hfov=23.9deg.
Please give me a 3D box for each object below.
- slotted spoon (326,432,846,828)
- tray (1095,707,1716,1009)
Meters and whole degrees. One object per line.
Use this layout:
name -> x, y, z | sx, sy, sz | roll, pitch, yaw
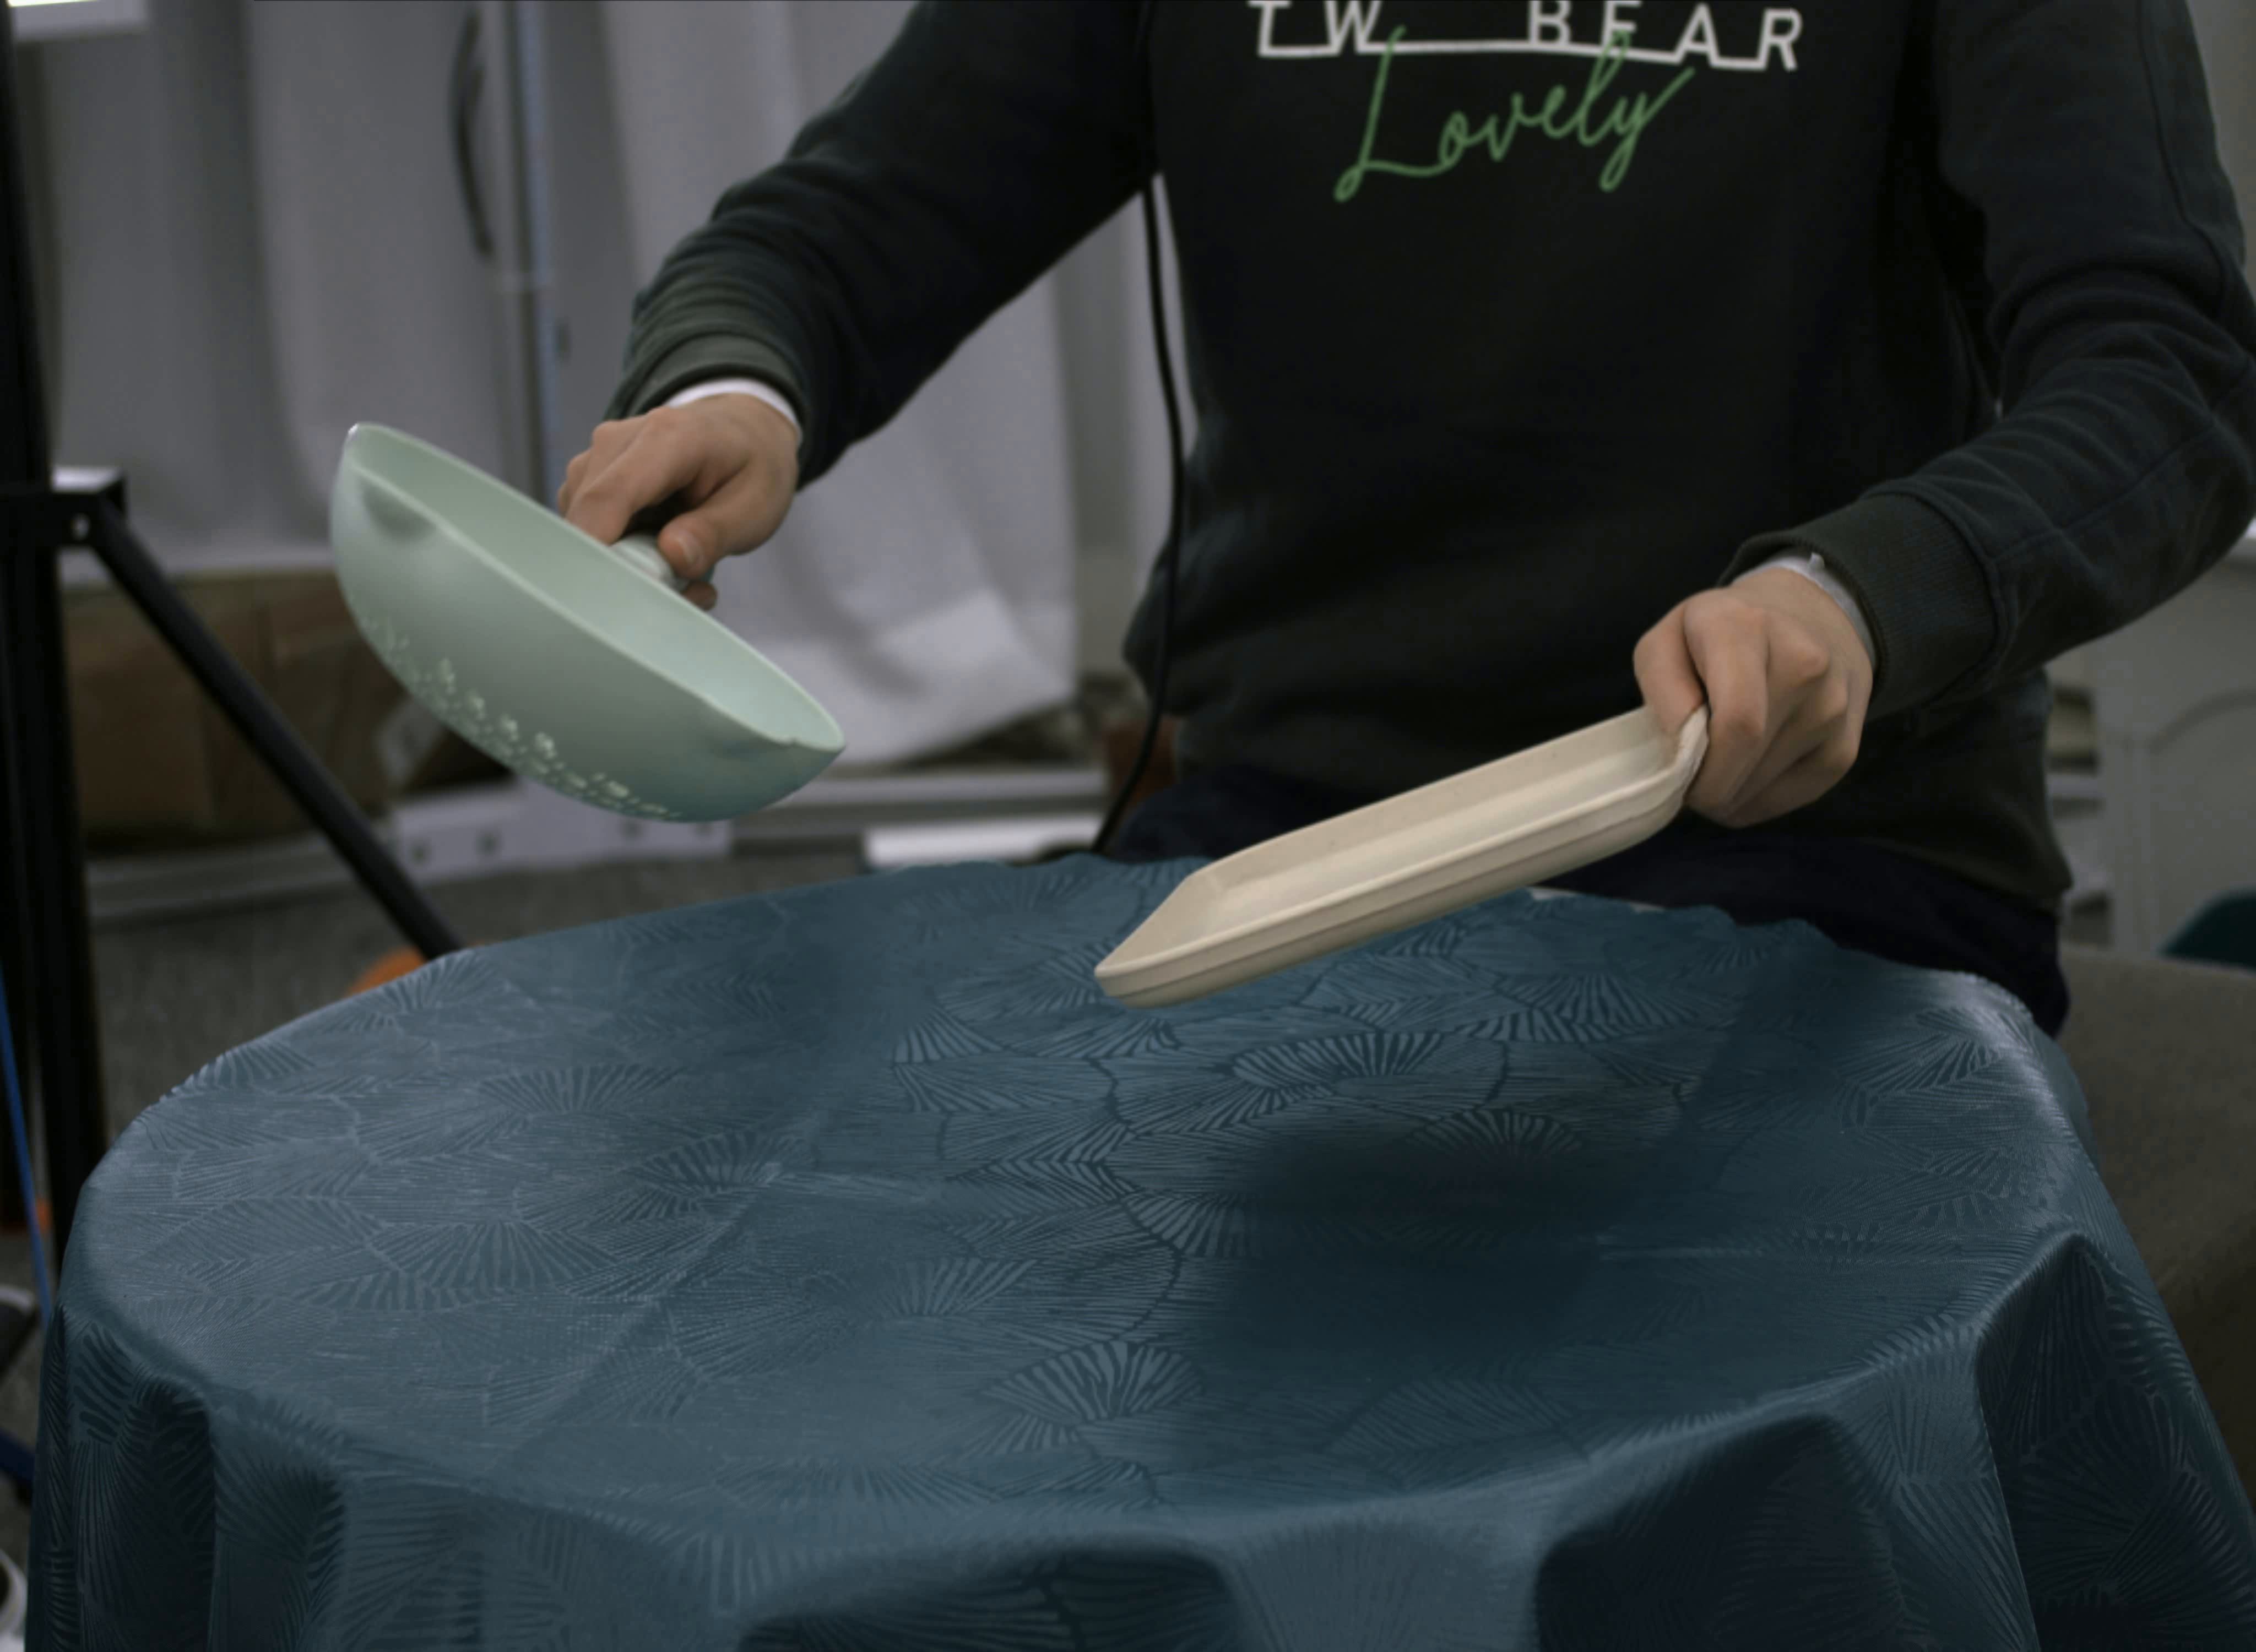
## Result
slotted spoon -> -0.158, -0.067, 1.636 | 0.169, 0.076, 0.358 | 34, 13, -2
tray -> 0.084, 0.009, 1.496 | 0.172, 0.017, 0.238 | -19, 3, 11
